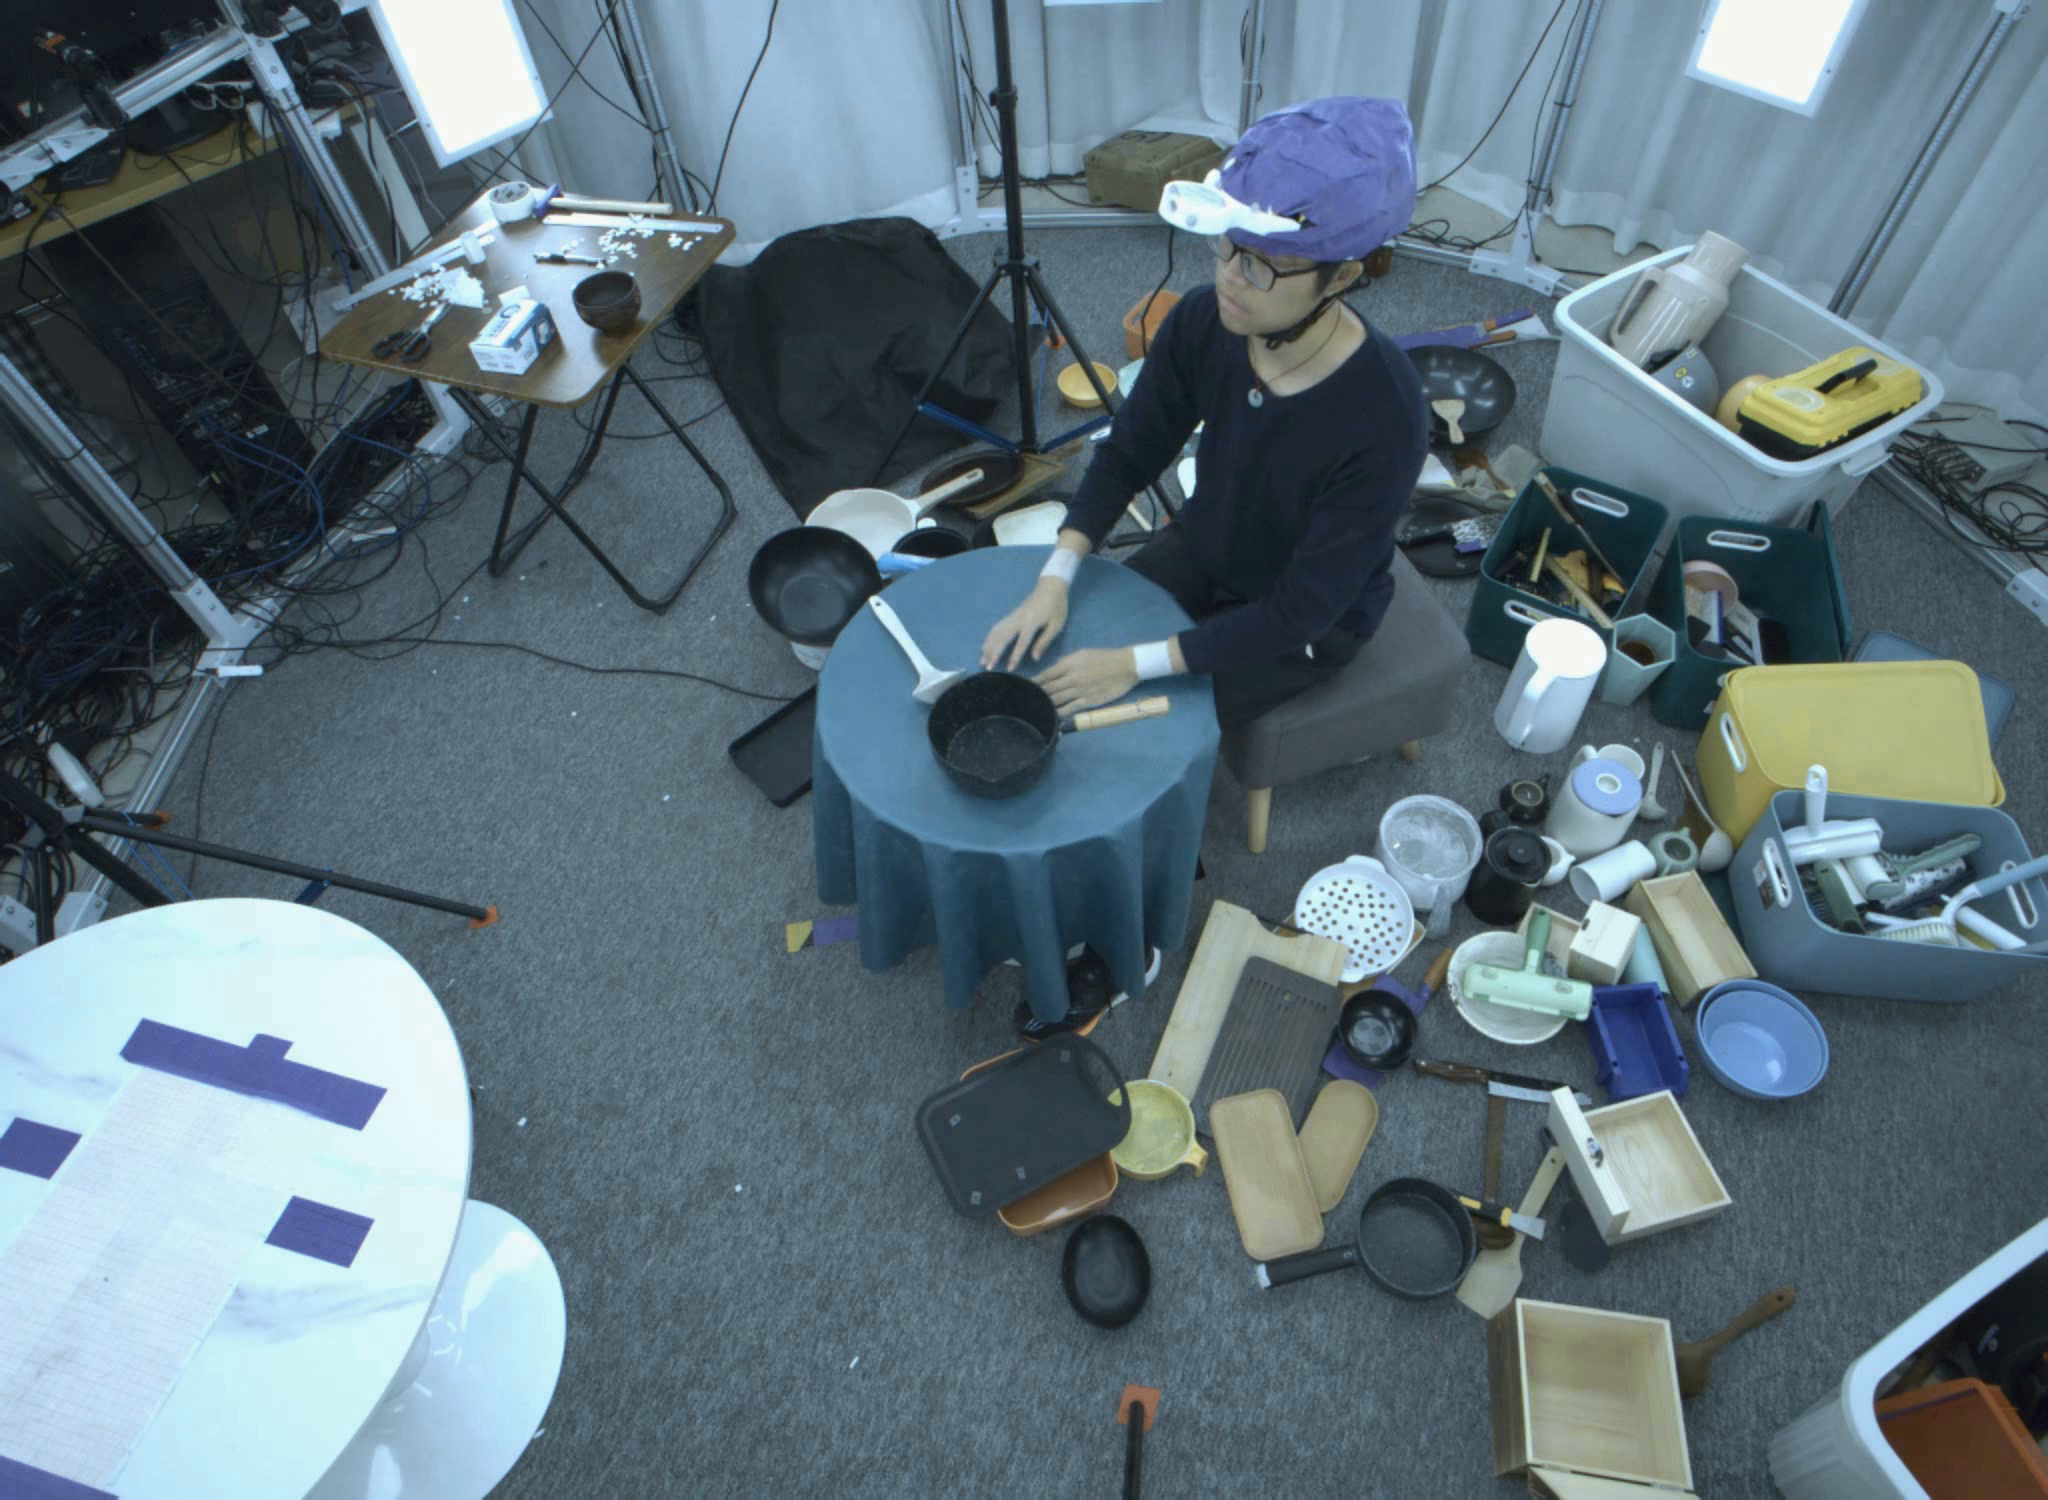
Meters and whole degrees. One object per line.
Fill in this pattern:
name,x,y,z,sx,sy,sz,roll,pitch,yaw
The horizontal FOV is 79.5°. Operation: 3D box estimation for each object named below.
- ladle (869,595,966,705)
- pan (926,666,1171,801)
ladle,-0.180,-0.172,1.873,0.090,0.070,0.270,-30,59,-11
pan,0.036,-0.027,1.739,0.343,0.109,0.205,-5,54,0
